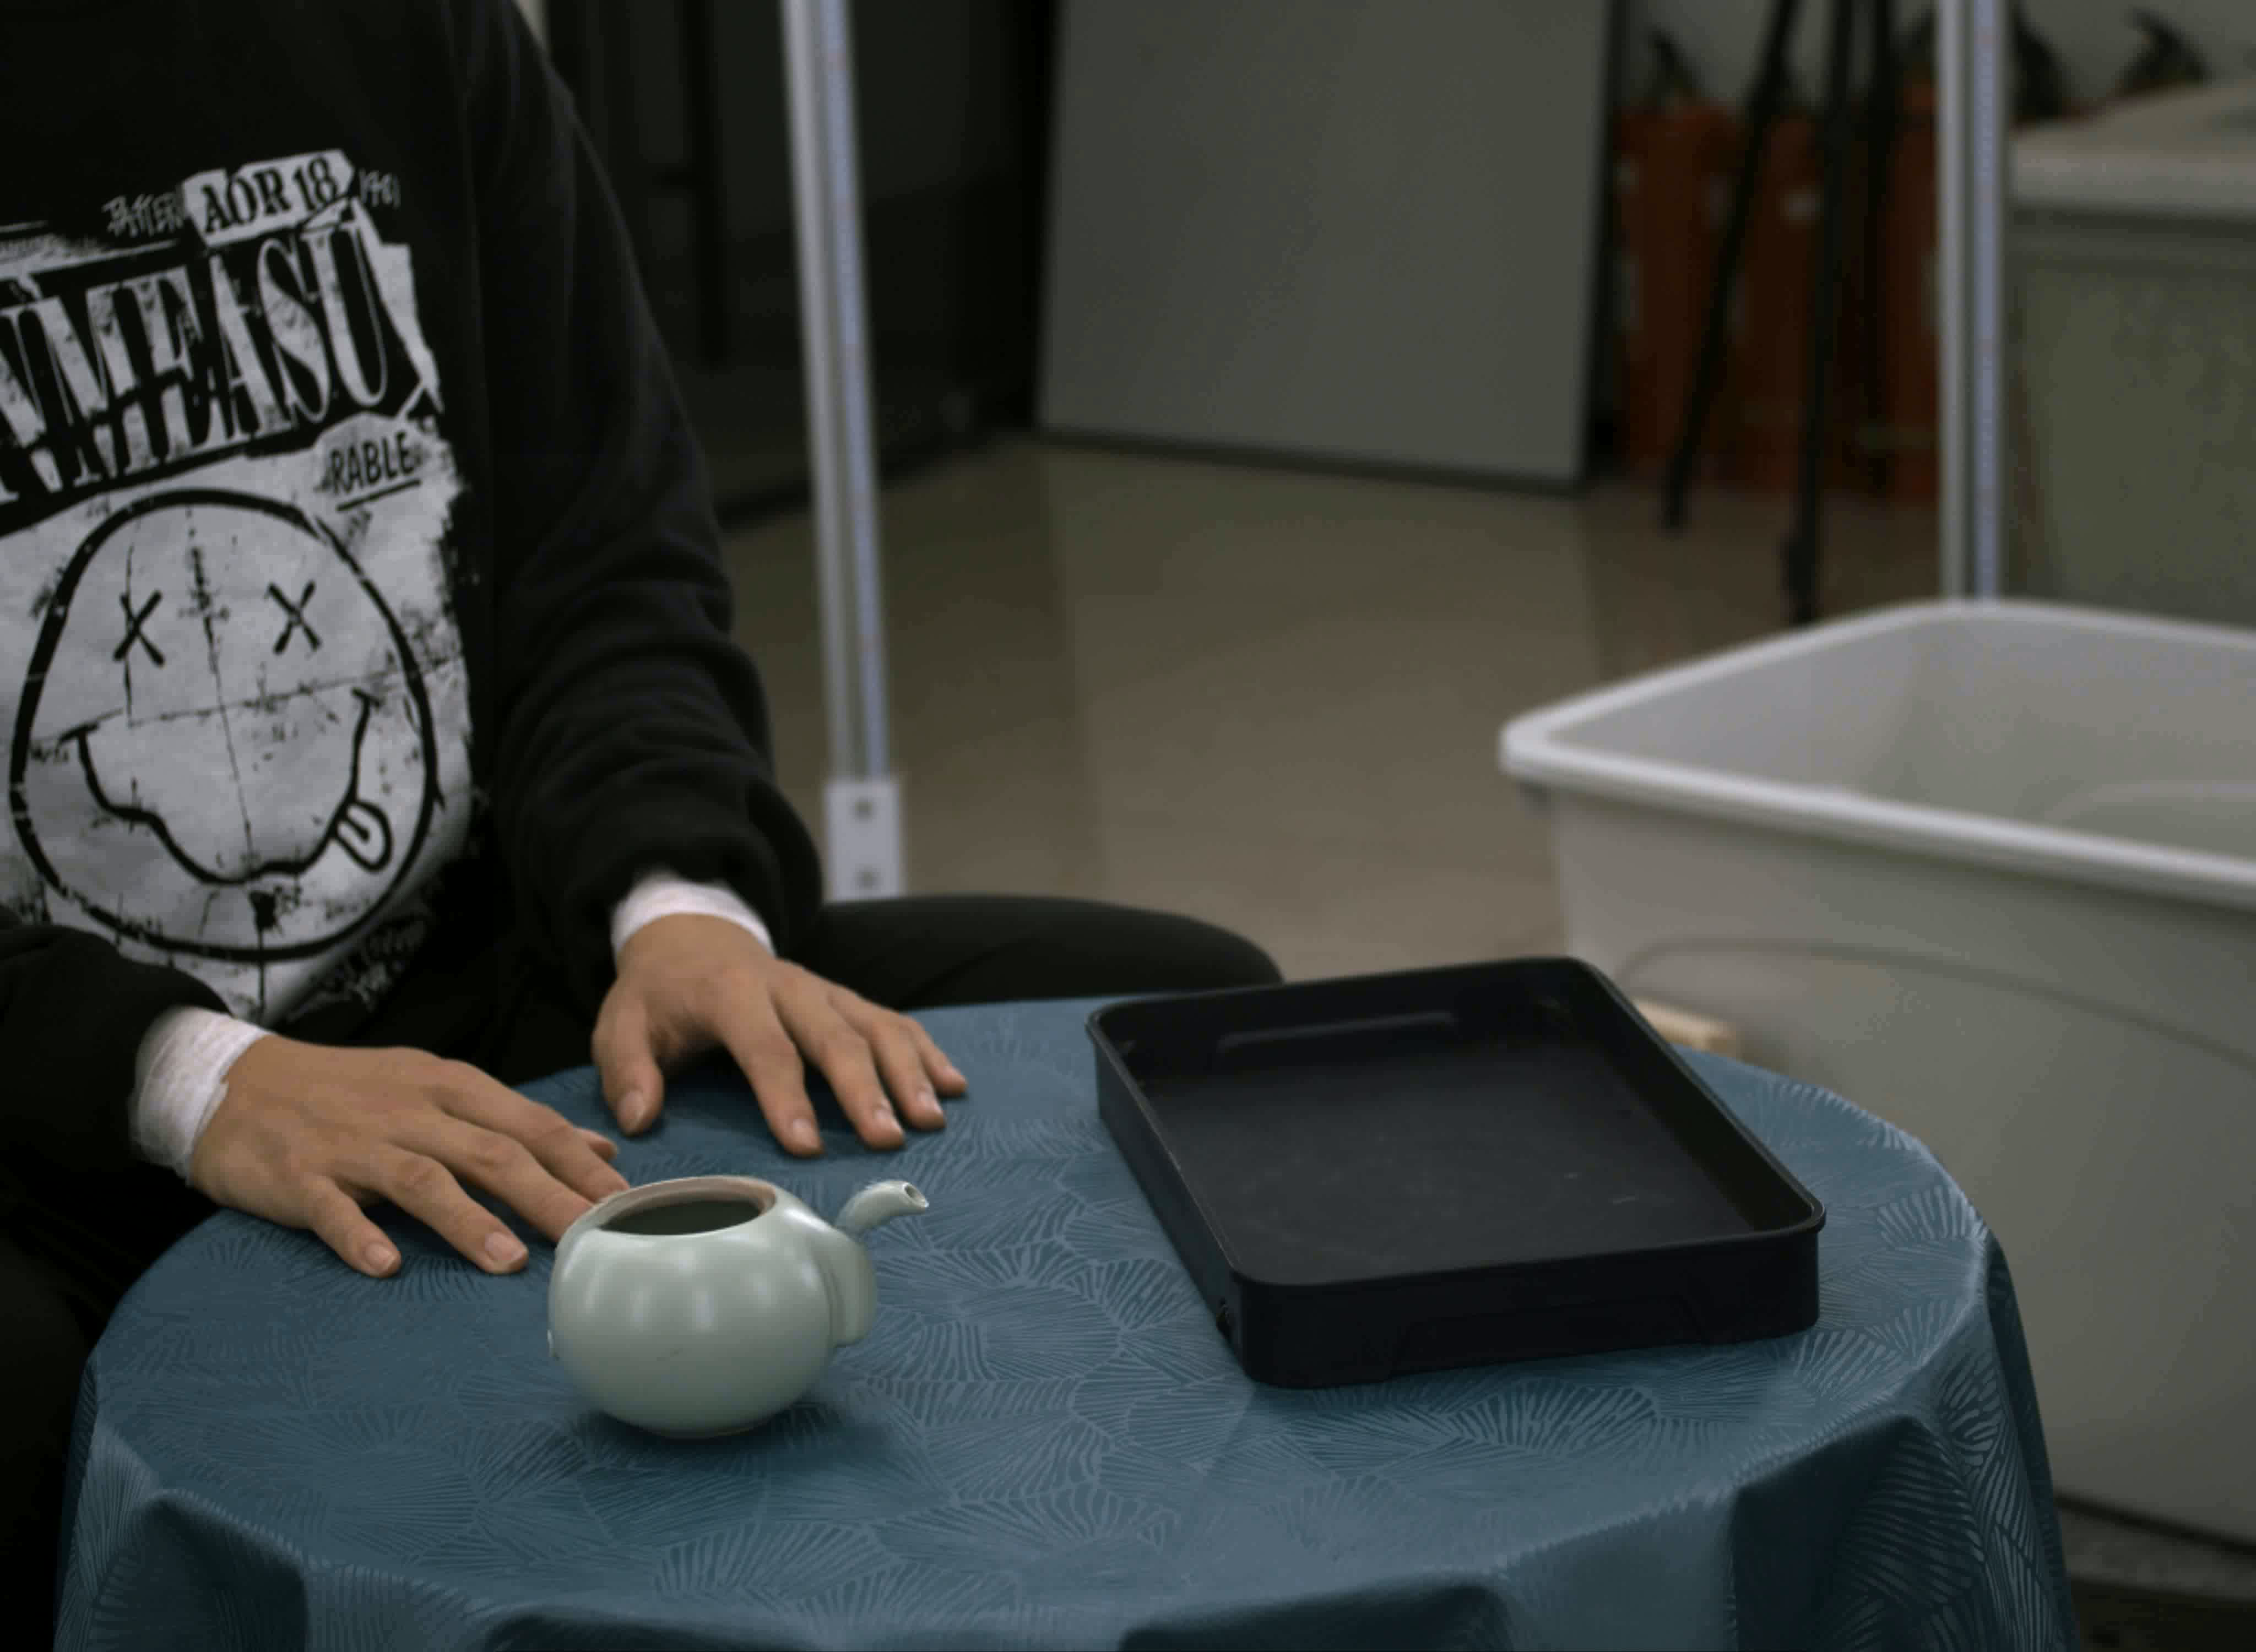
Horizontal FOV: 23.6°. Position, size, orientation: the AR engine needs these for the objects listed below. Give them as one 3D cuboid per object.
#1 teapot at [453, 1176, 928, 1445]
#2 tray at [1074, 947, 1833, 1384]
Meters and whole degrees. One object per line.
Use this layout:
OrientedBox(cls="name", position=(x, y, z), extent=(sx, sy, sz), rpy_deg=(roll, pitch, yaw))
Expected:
OrientedBox(cls="teapot", position=(-0.127, 0.140, 1.587), extent=(0.143, 0.075, 0.088), rpy_deg=(0, 14, 11))
OrientedBox(cls="tray", position=(0.098, 0.104, 1.738), extent=(0.181, 0.037, 0.320), rpy_deg=(-7, 14, -9))
